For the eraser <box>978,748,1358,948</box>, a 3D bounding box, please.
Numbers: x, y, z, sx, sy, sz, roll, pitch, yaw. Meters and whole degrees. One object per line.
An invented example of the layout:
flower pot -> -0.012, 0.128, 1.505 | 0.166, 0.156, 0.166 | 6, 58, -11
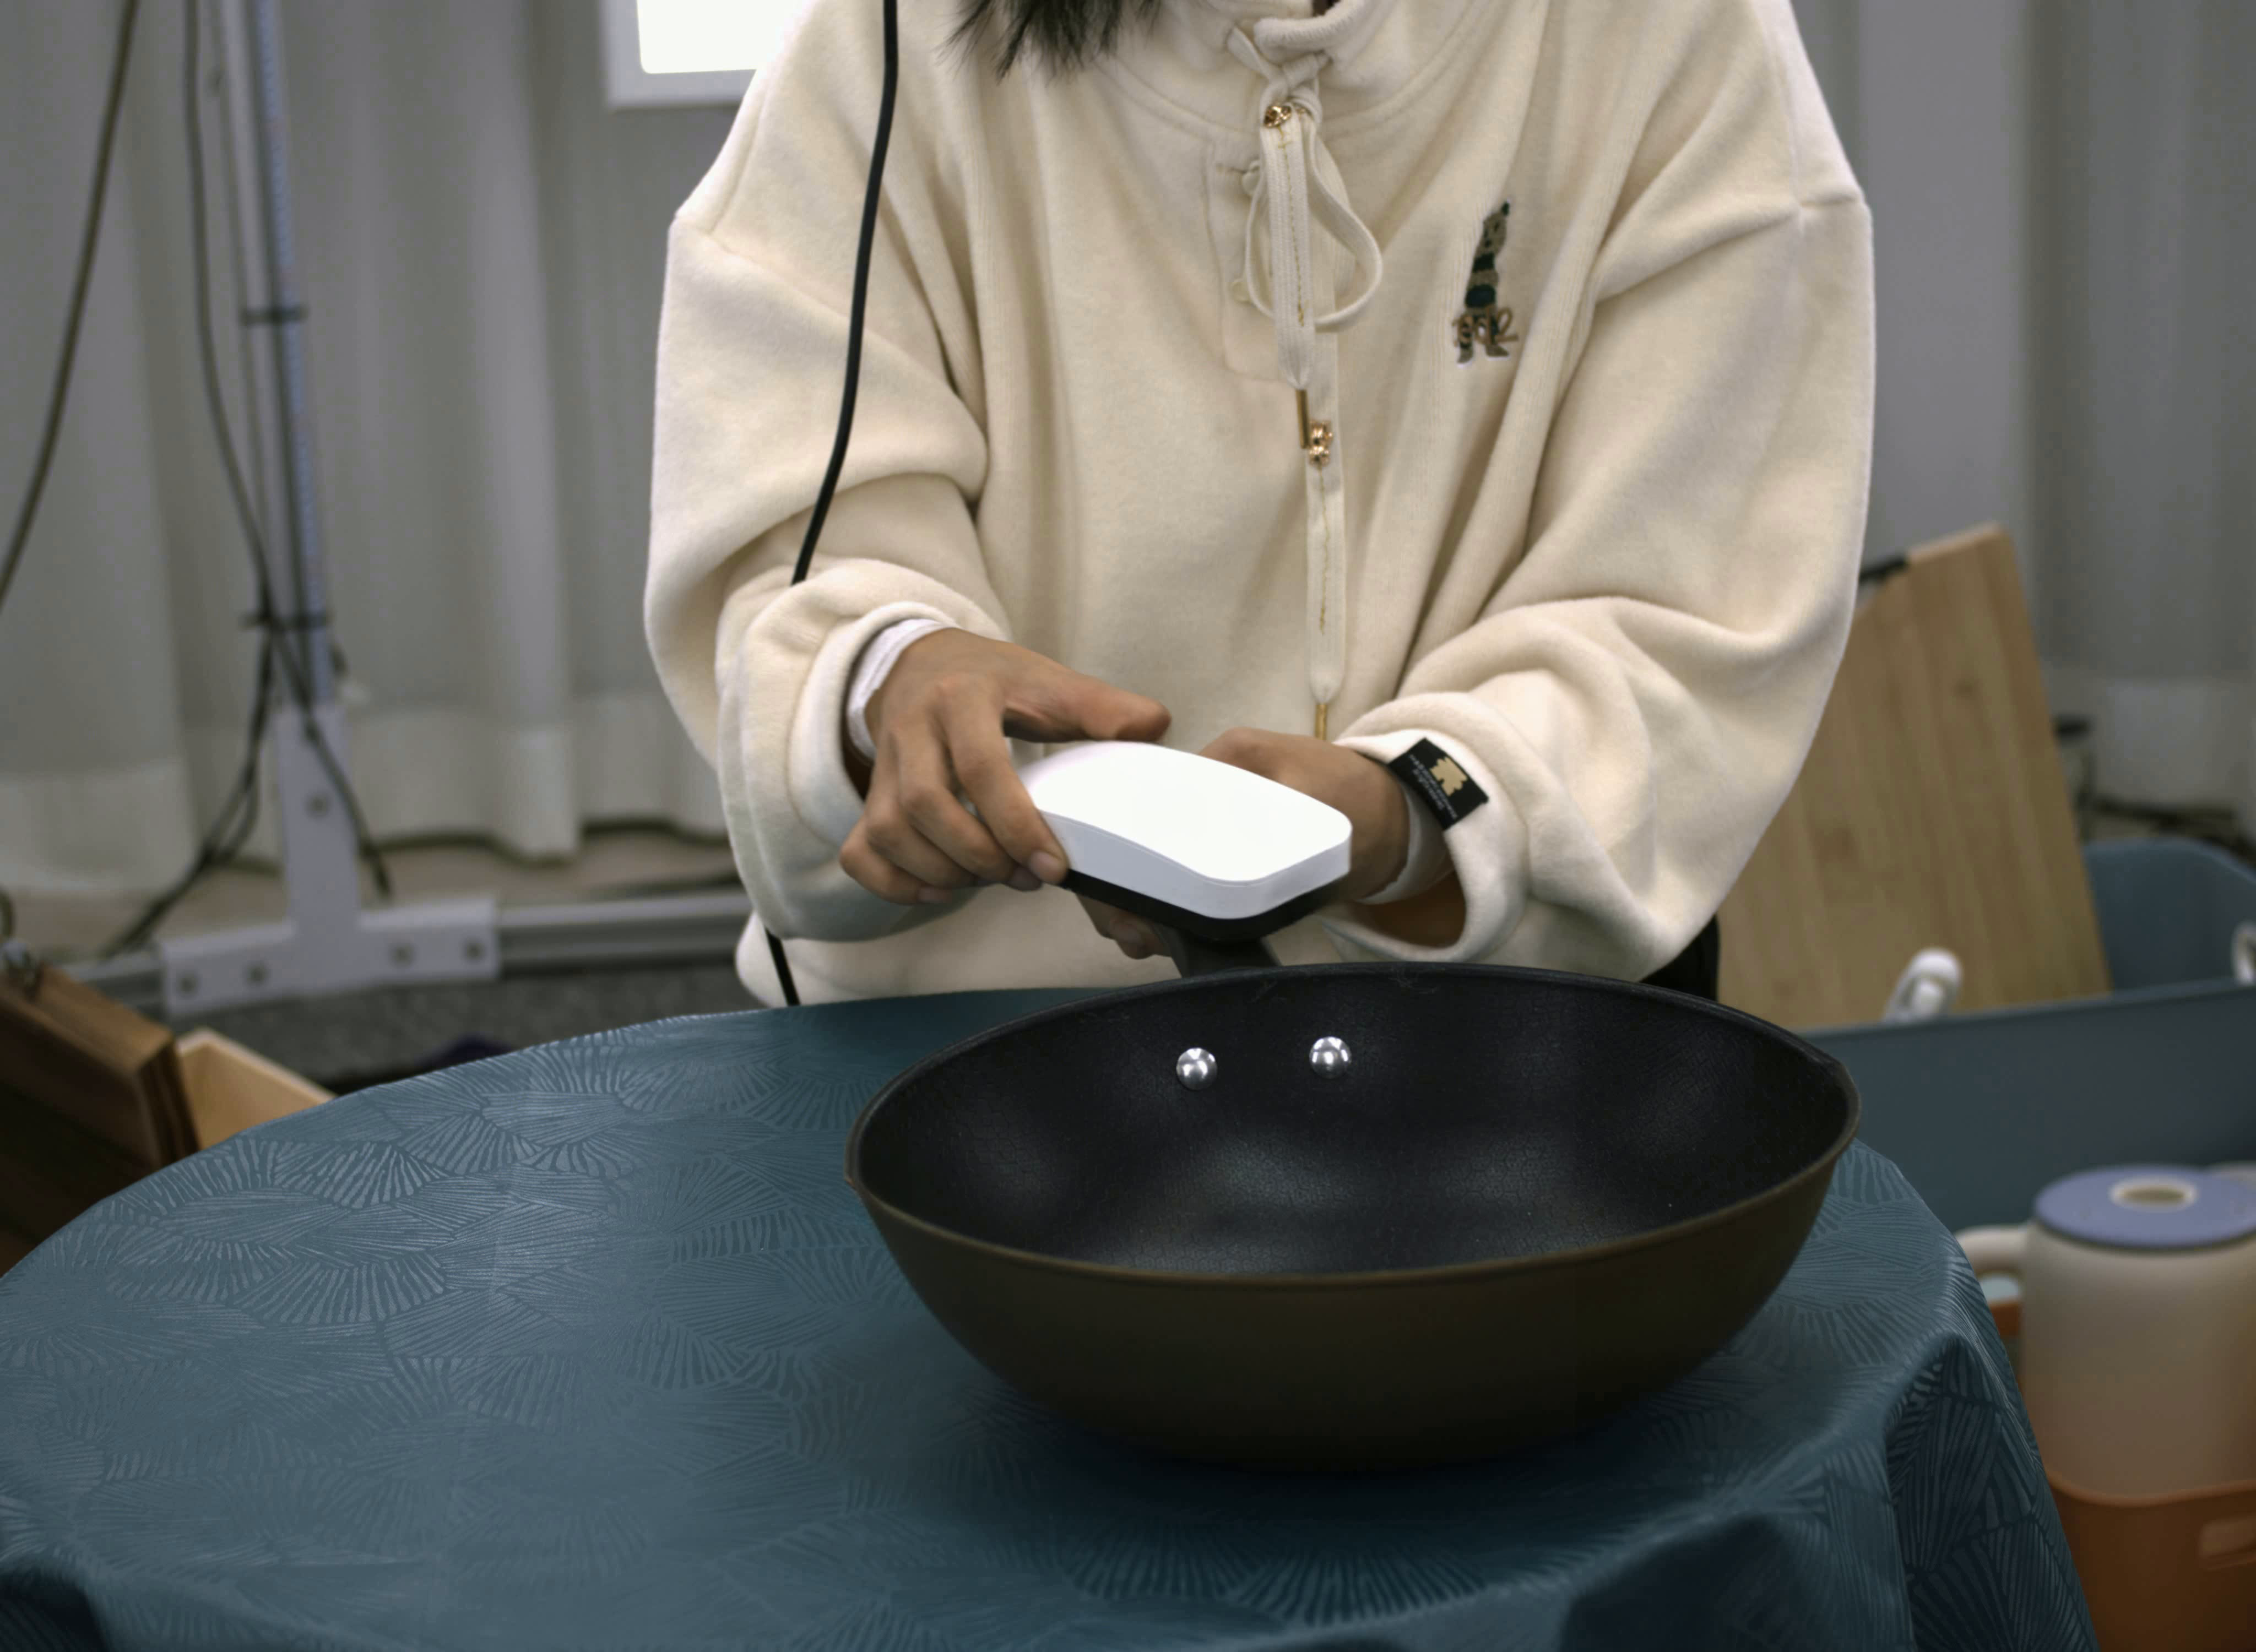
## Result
eraser -> 0.013, 0.004, 1.728 | 0.063, 0.034, 0.132 | -19, 25, -37

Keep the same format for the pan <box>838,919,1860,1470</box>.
pan -> 0.047, 0.094, 1.622 | 0.287, 0.086, 0.467 | -5, 14, -9
